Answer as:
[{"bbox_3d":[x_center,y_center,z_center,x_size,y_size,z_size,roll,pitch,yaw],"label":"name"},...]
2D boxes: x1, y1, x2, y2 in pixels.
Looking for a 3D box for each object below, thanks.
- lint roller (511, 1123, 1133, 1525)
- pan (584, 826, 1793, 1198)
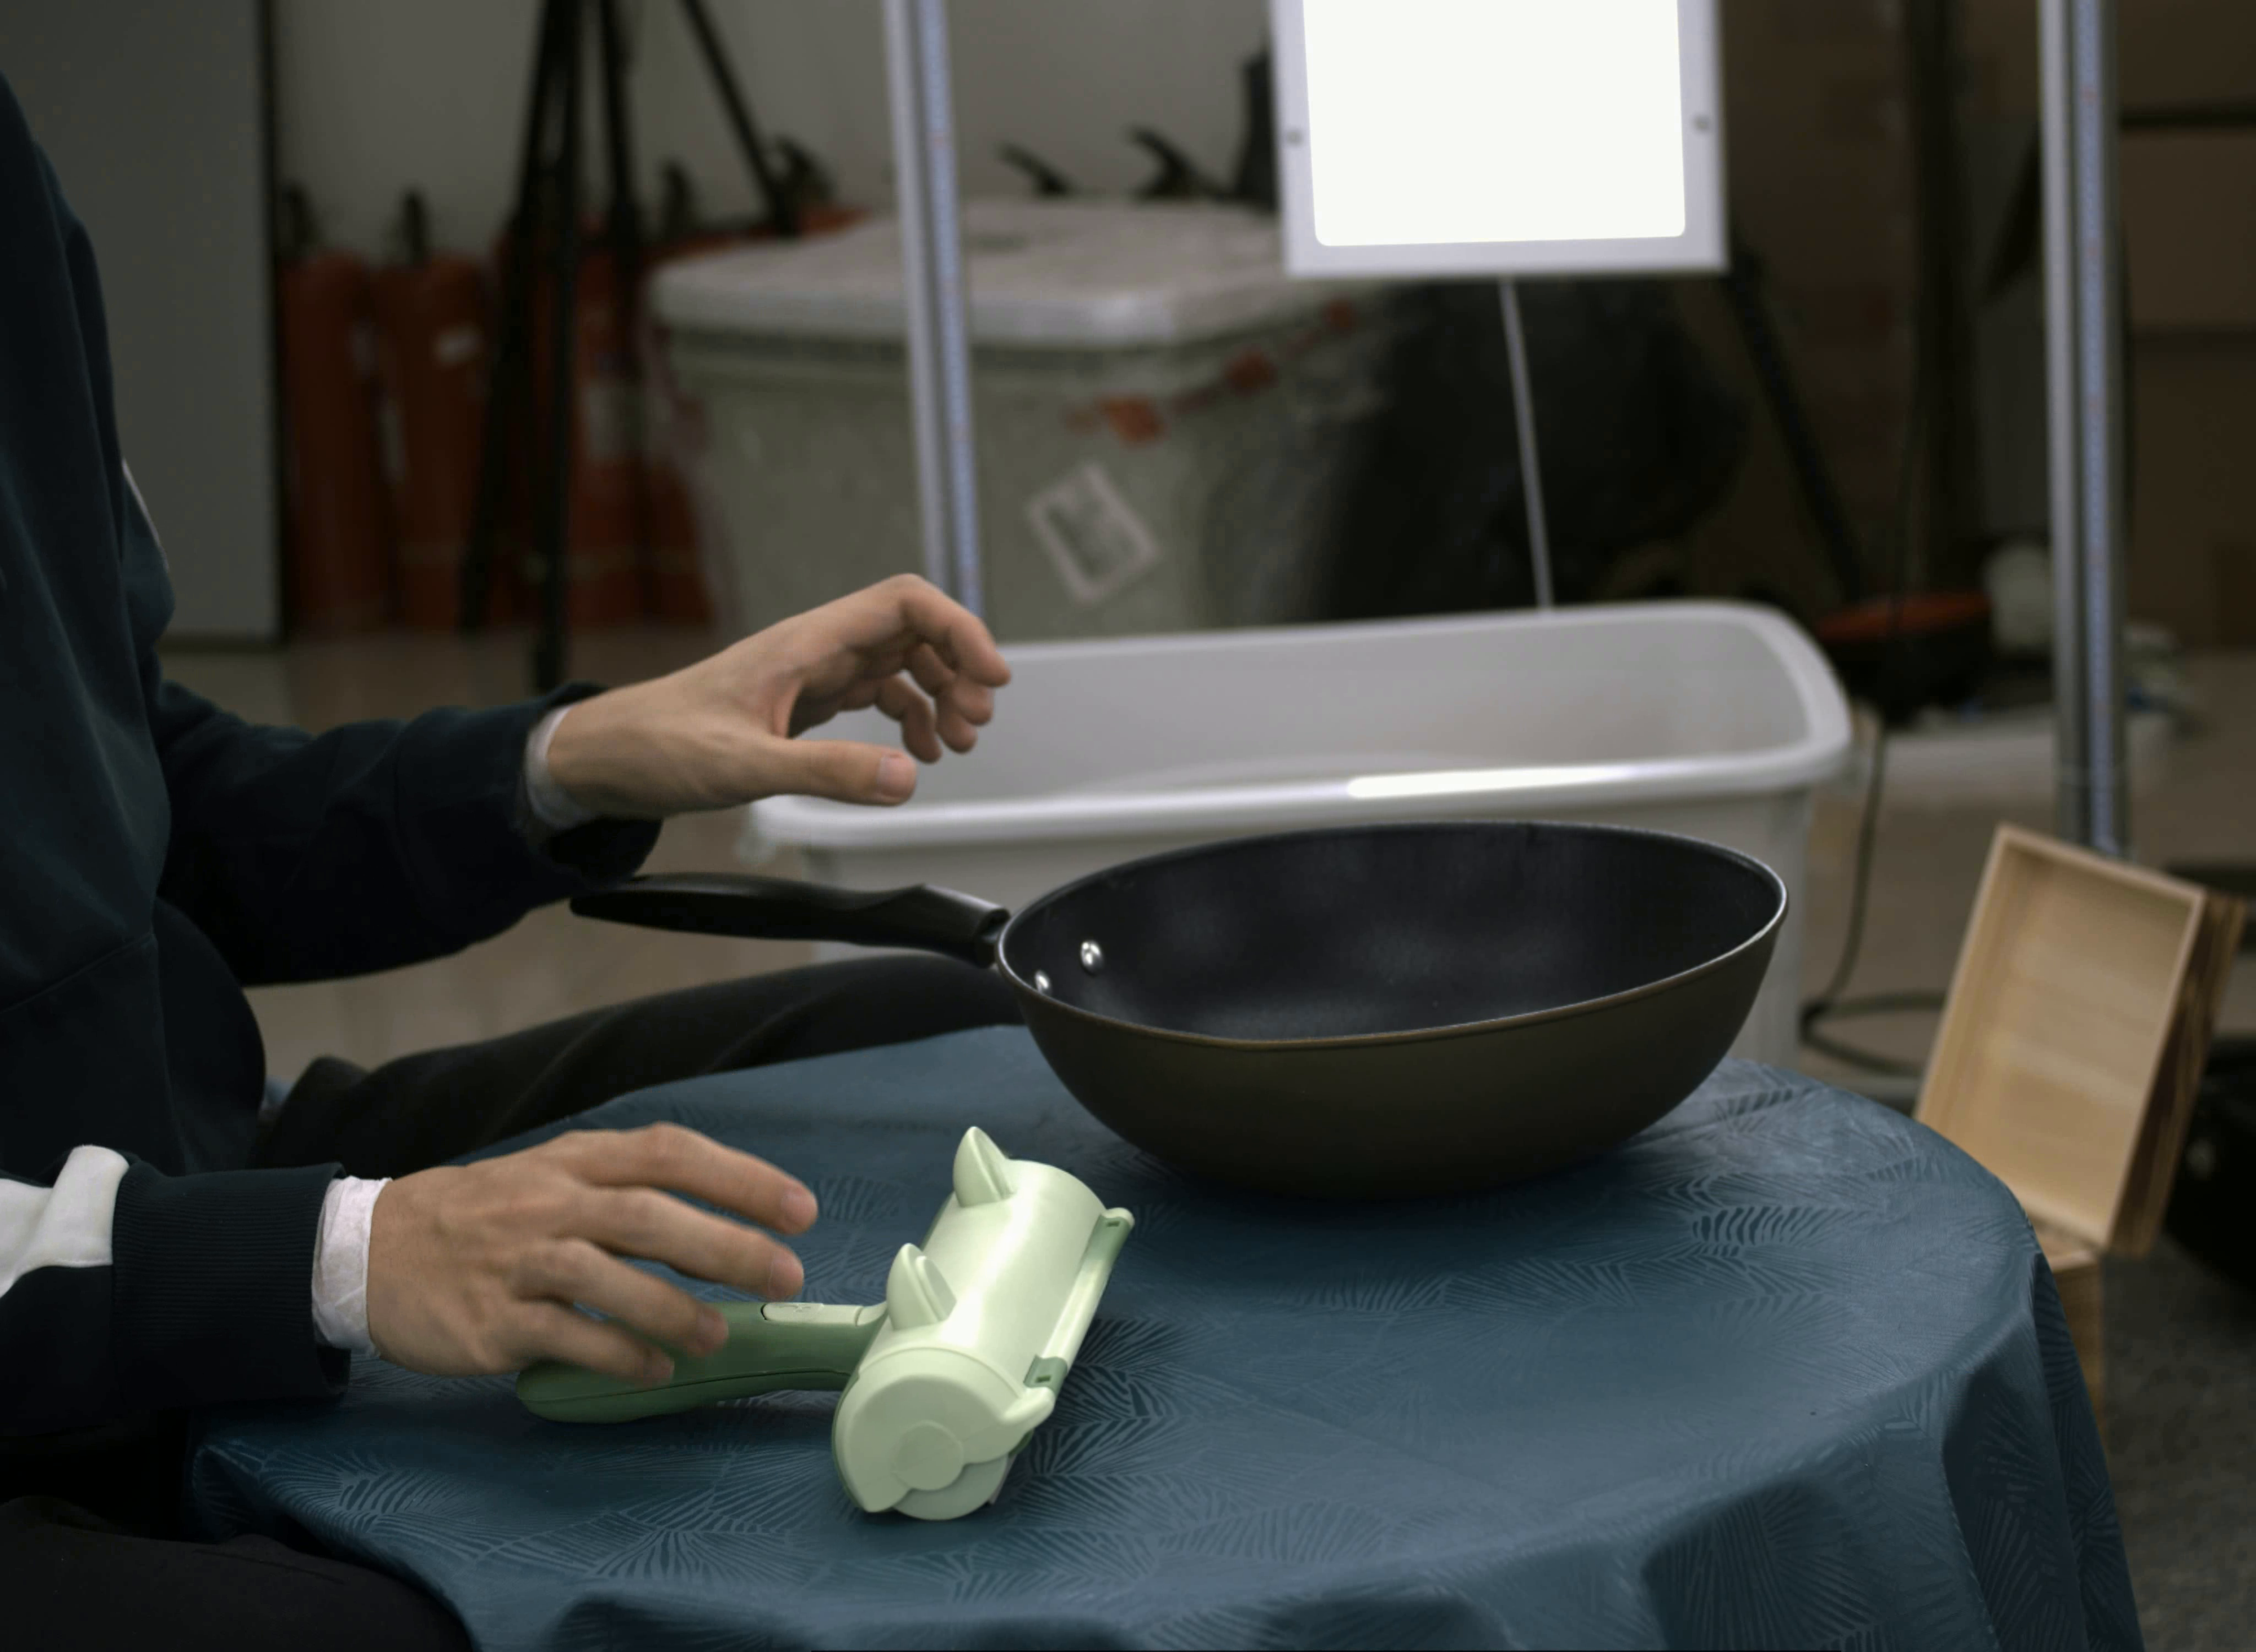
[{"bbox_3d":[-0.101,0.146,1.695,0.184,0.082,0.196,3,15,9],"label":"lint roller"},{"bbox_3d":[0.012,0.068,1.957,0.471,0.087,0.282,0,14,26],"label":"pan"}]
